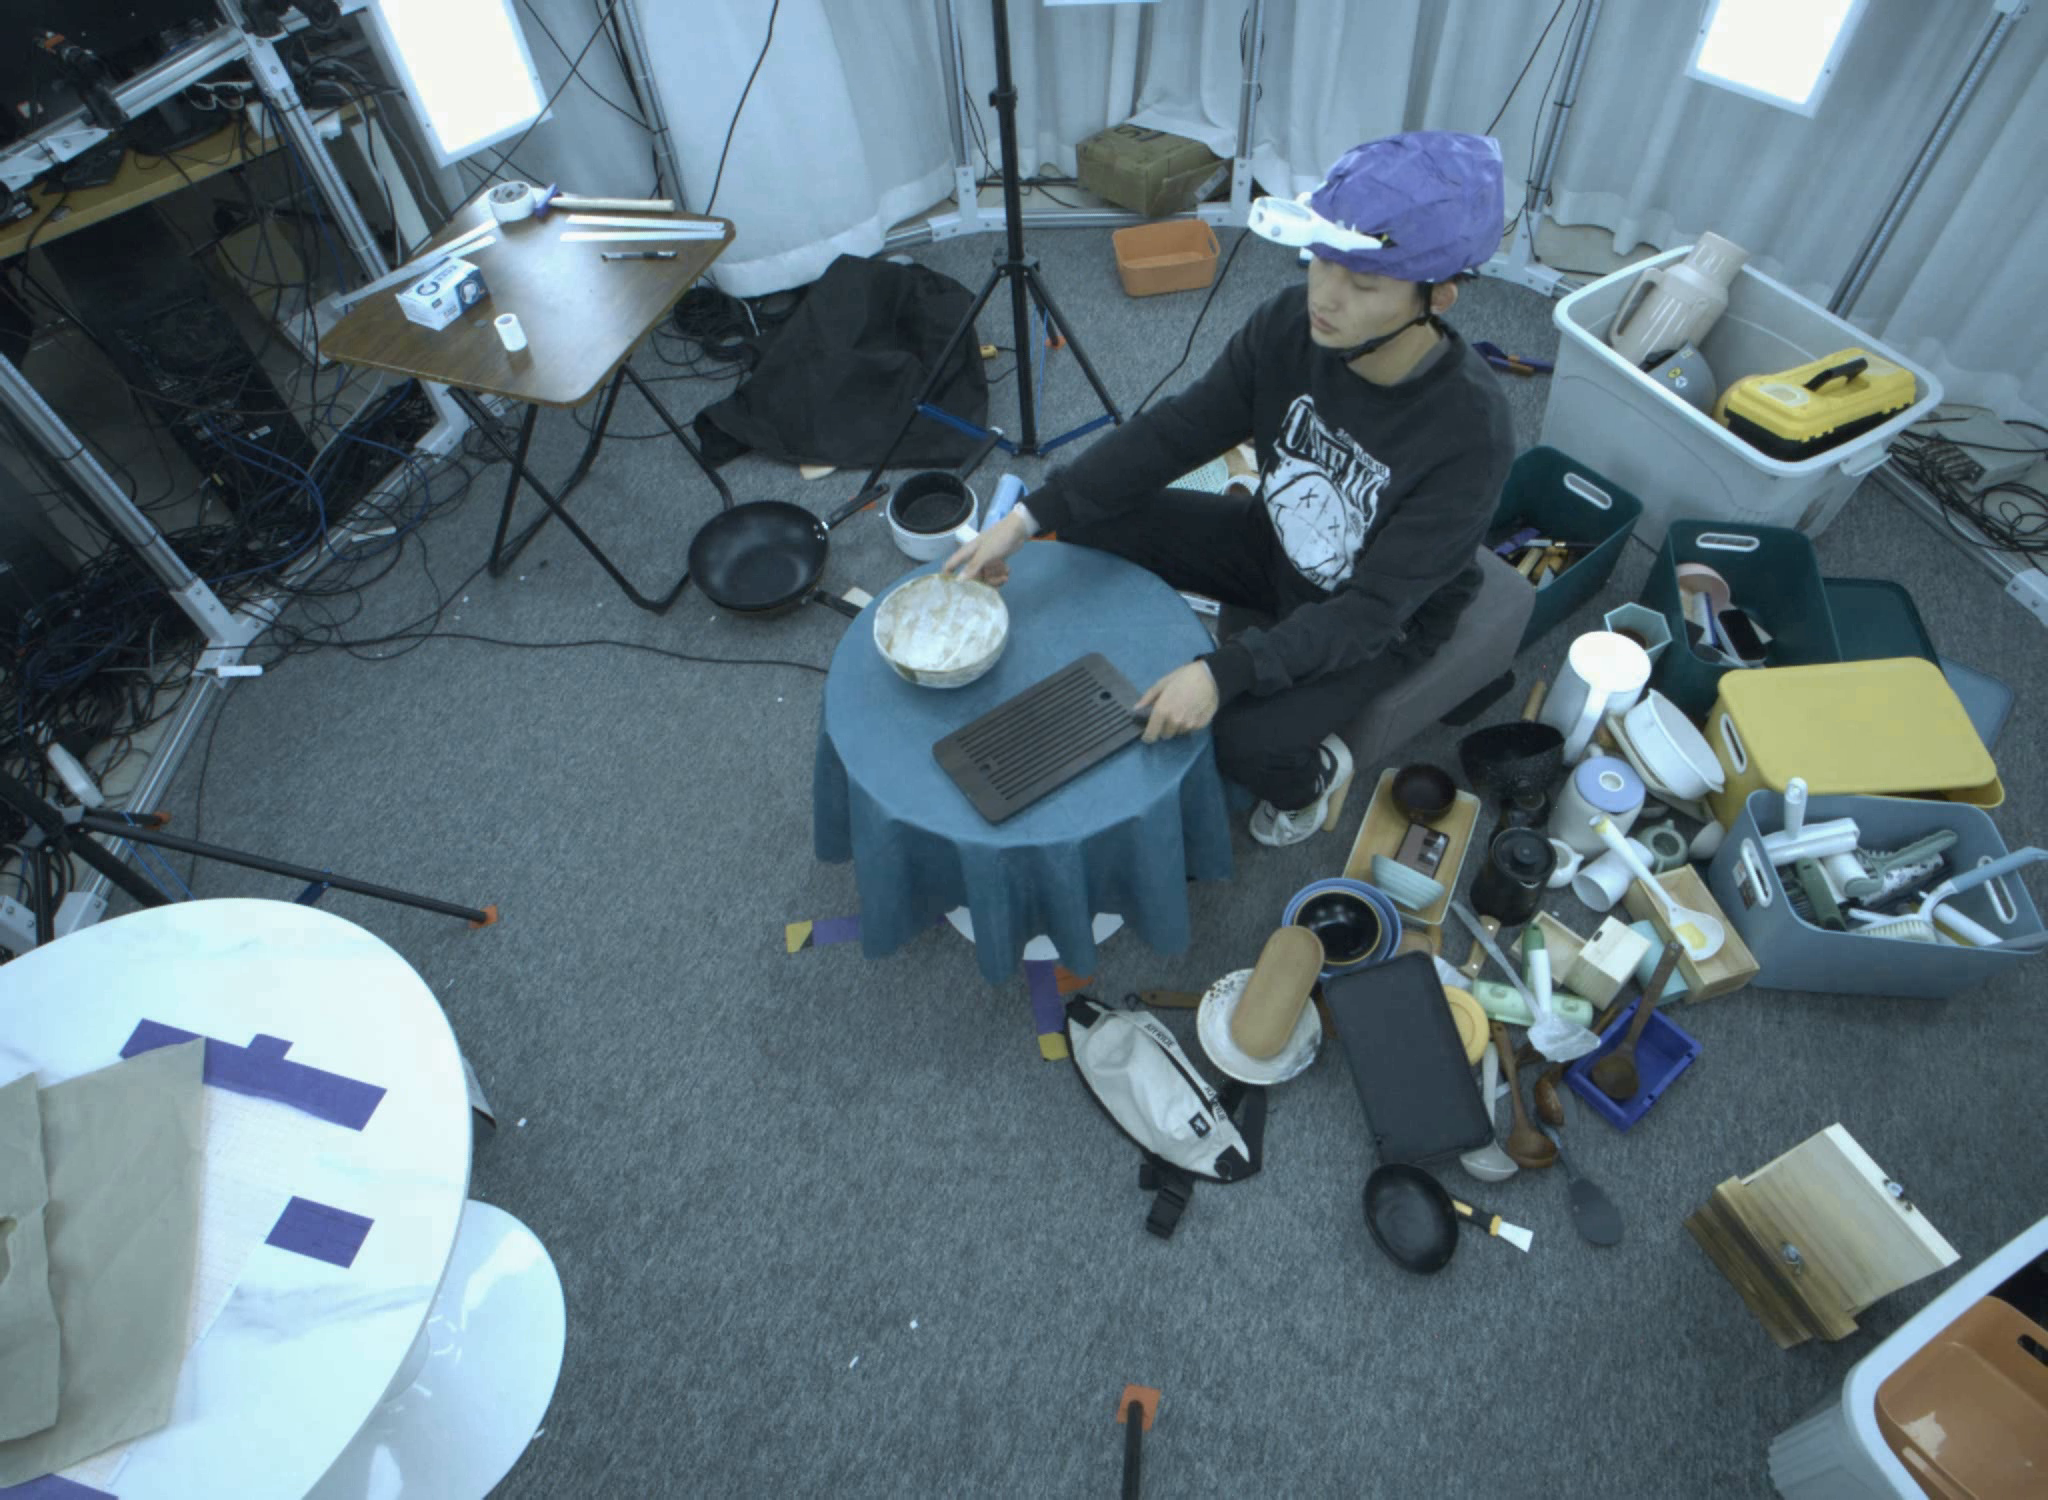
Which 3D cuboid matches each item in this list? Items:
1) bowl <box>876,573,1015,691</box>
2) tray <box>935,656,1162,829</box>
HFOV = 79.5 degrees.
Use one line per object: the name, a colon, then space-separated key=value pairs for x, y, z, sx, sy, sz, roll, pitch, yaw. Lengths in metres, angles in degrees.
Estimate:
bowl: x=-0.115 y=-0.160 z=1.857 sx=0.214 sy=0.095 sz=0.212 roll=0 pitch=54 yaw=2
tray: x=0.037 y=-0.015 z=1.796 sx=0.308 sy=0.019 sz=0.167 roll=-31 pitch=60 yaw=-19
